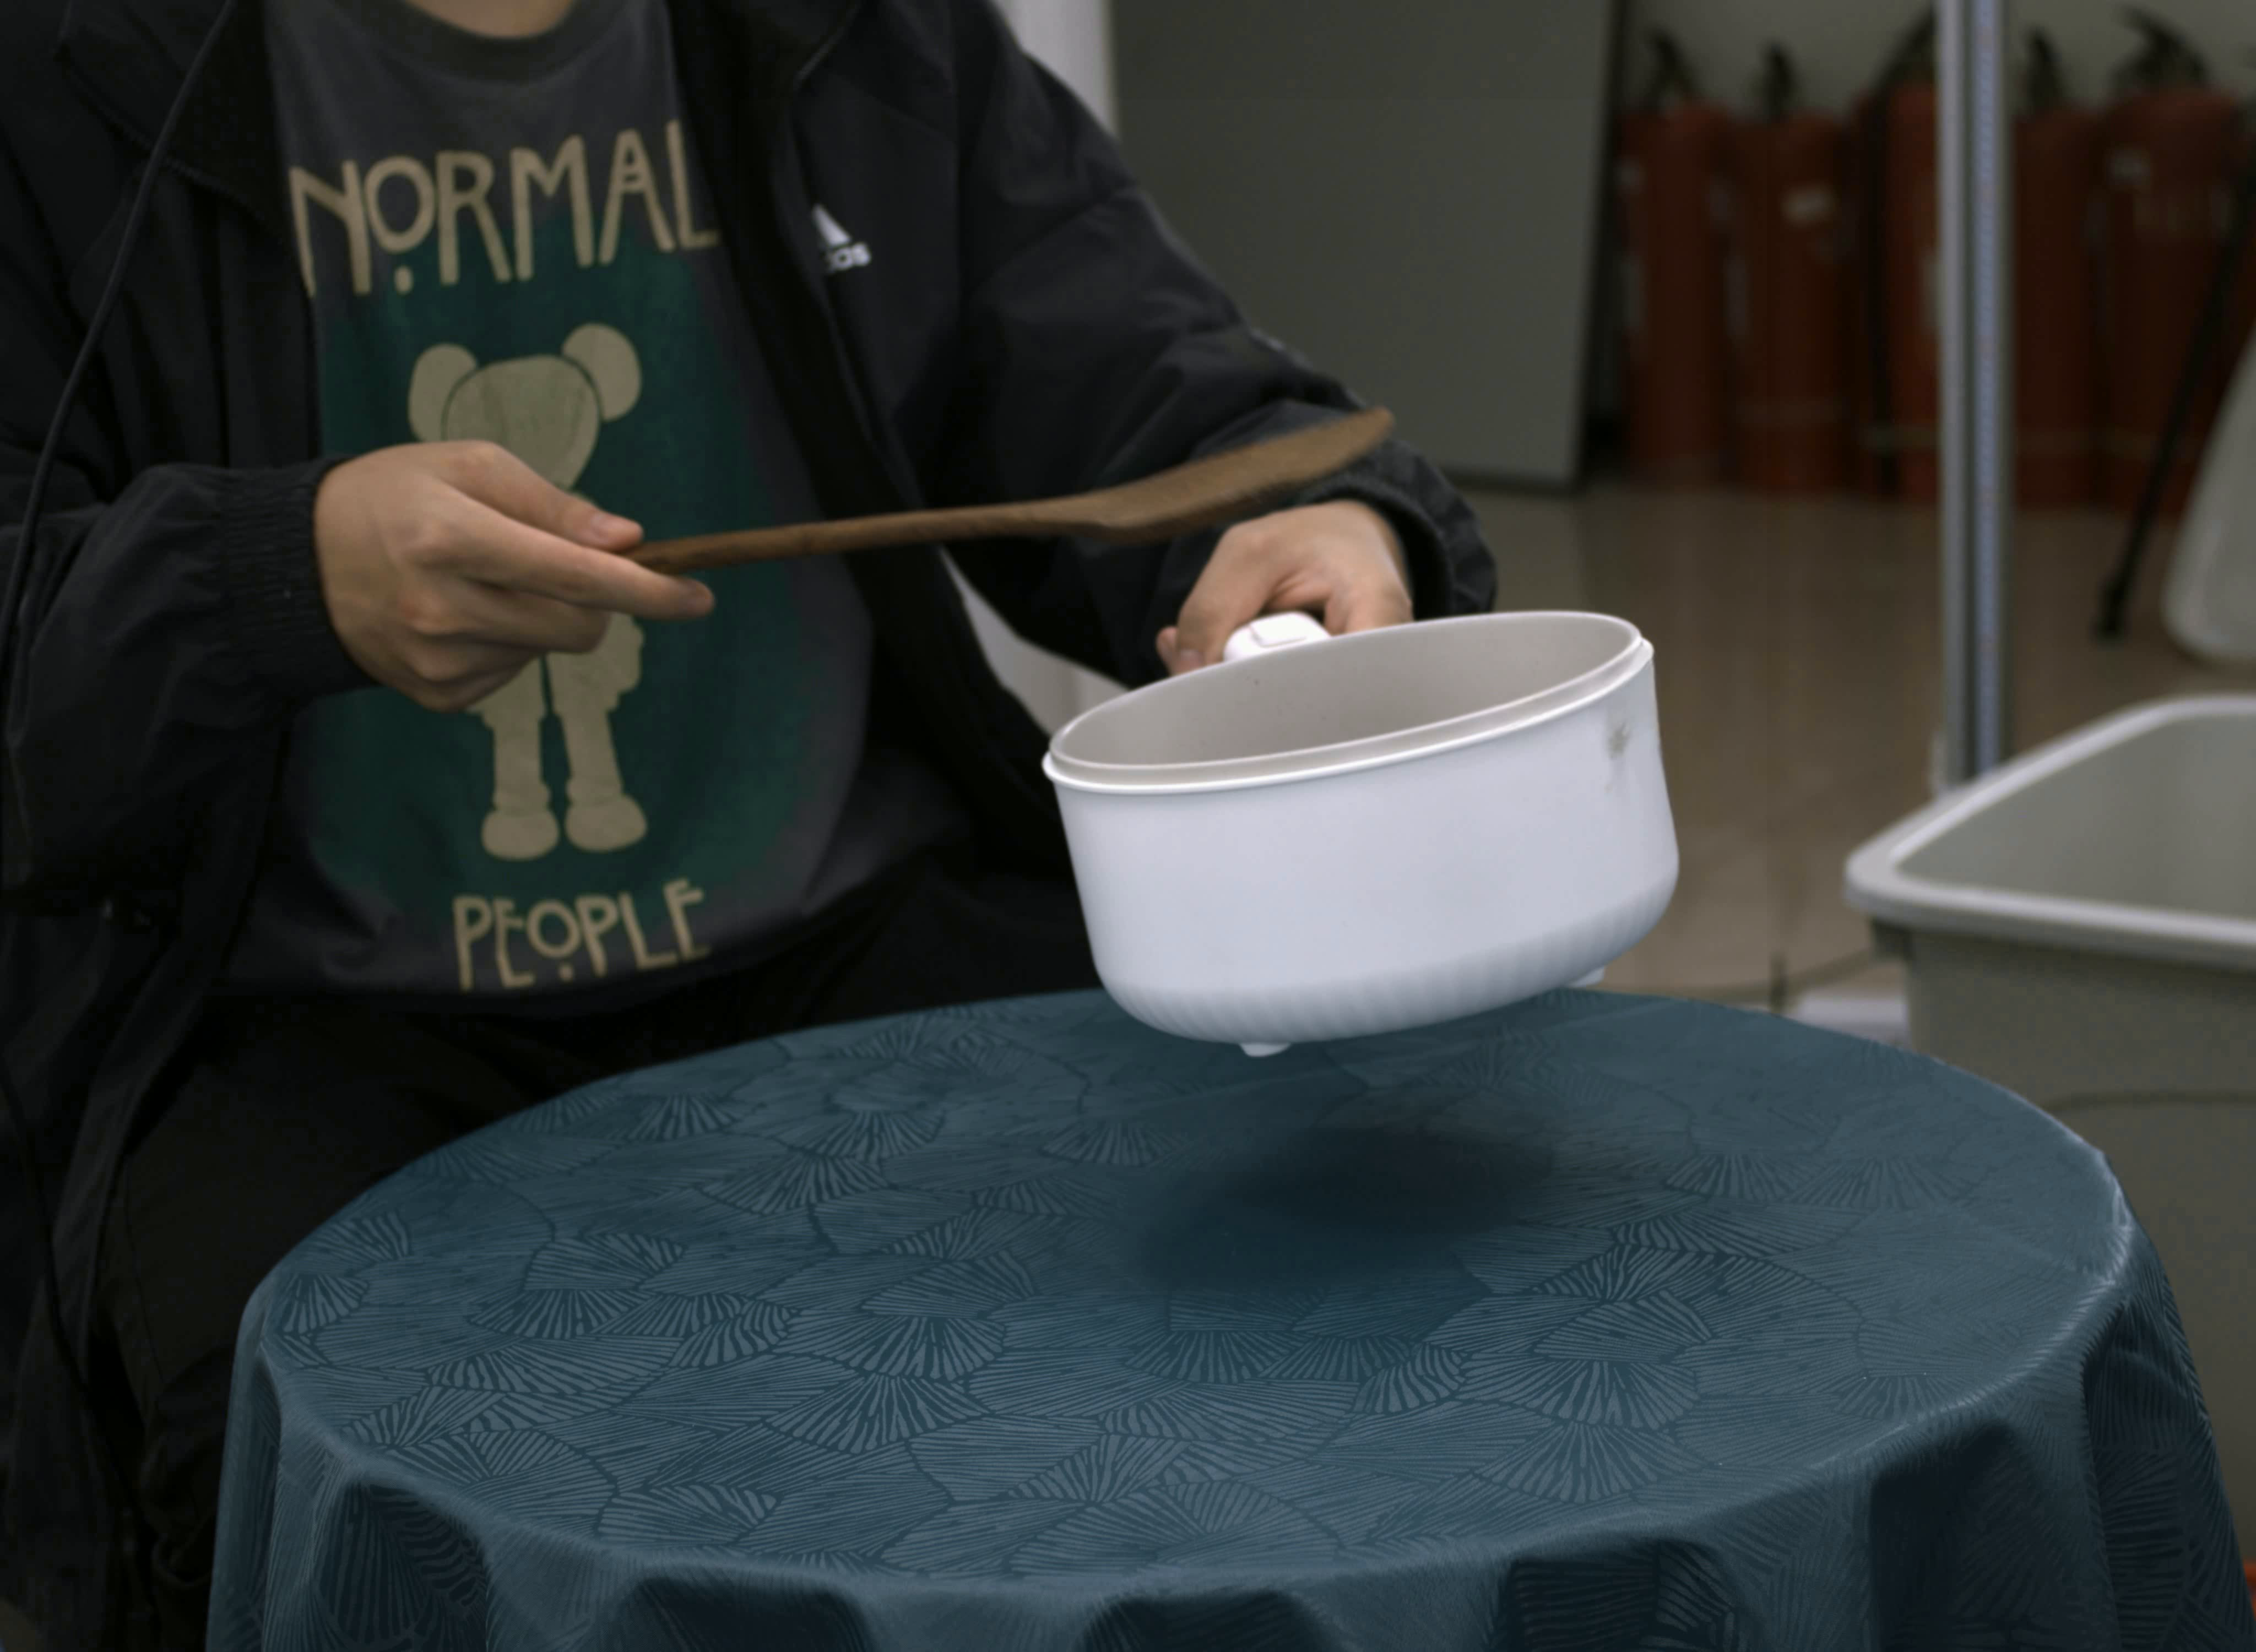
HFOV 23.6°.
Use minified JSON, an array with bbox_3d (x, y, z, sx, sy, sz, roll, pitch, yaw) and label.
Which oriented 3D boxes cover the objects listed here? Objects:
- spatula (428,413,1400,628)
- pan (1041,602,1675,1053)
[{"bbox_3d":[-0.084,-0.096,1.811,0.388,0.016,0.095,-6,17,32],"label":"spatula"},{"bbox_3d":[0.071,-0.009,1.816,0.198,0.103,0.356,-14,9,-3],"label":"pan"}]
